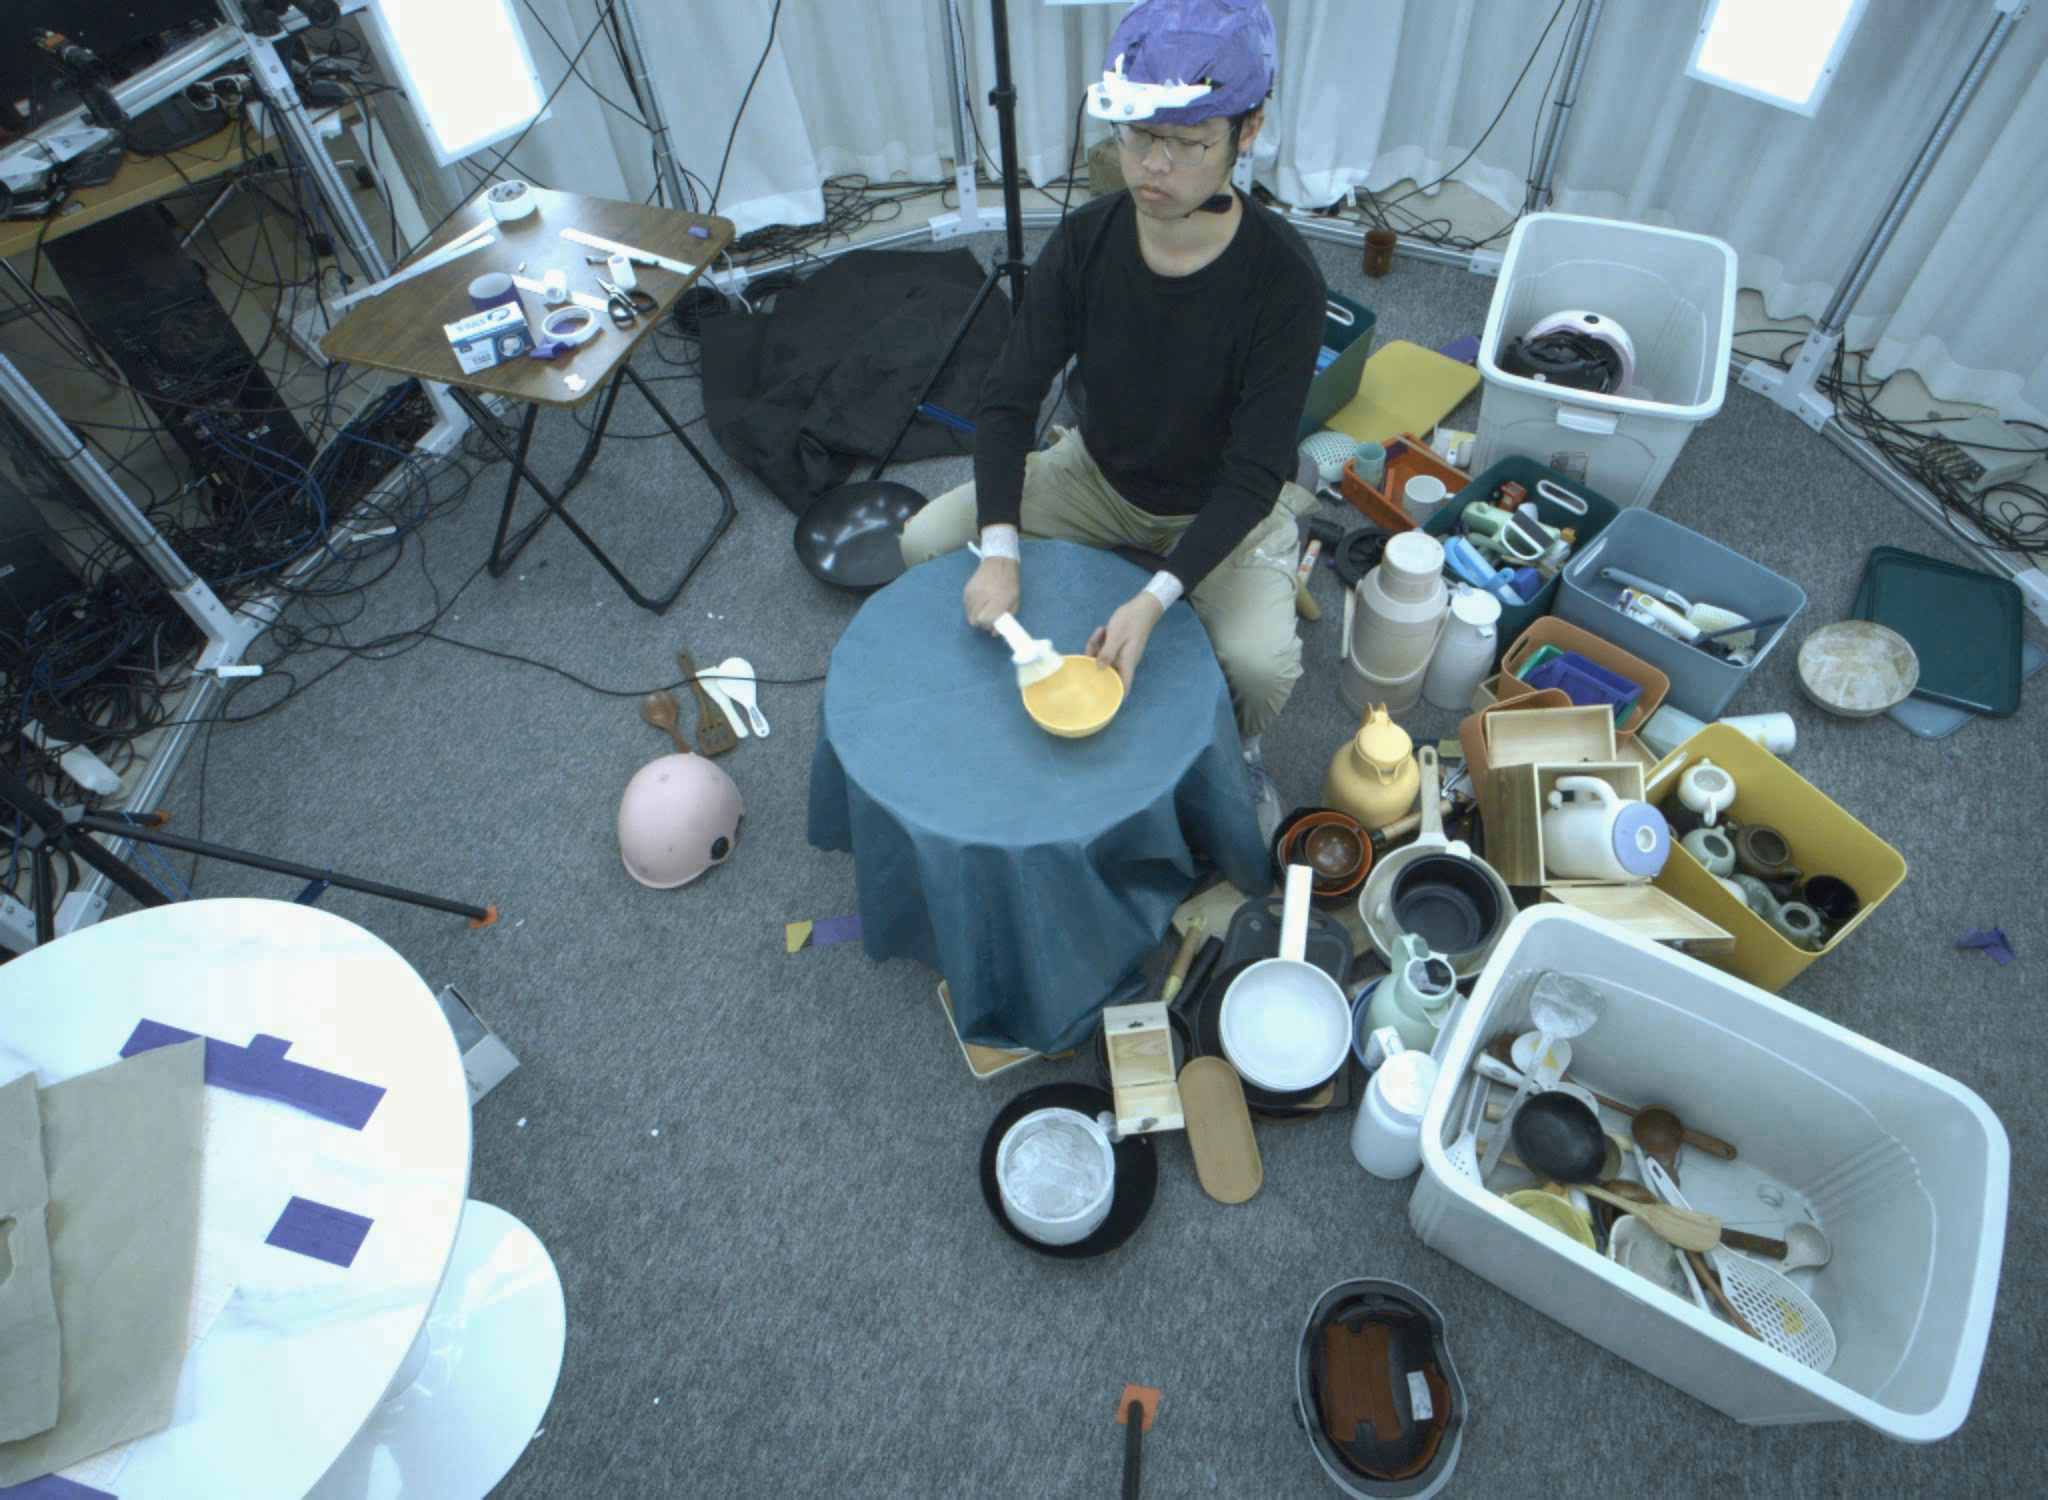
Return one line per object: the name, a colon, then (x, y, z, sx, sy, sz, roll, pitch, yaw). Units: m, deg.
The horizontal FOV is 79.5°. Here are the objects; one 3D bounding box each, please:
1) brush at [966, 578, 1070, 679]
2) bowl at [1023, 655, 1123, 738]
brush: (-0.016, -0.184, 1.845, 0.069, 0.057, 0.260, -28, 42, -15)
bowl: (0.071, -0.067, 1.795, 0.145, 0.061, 0.144, 1, 53, 0)
